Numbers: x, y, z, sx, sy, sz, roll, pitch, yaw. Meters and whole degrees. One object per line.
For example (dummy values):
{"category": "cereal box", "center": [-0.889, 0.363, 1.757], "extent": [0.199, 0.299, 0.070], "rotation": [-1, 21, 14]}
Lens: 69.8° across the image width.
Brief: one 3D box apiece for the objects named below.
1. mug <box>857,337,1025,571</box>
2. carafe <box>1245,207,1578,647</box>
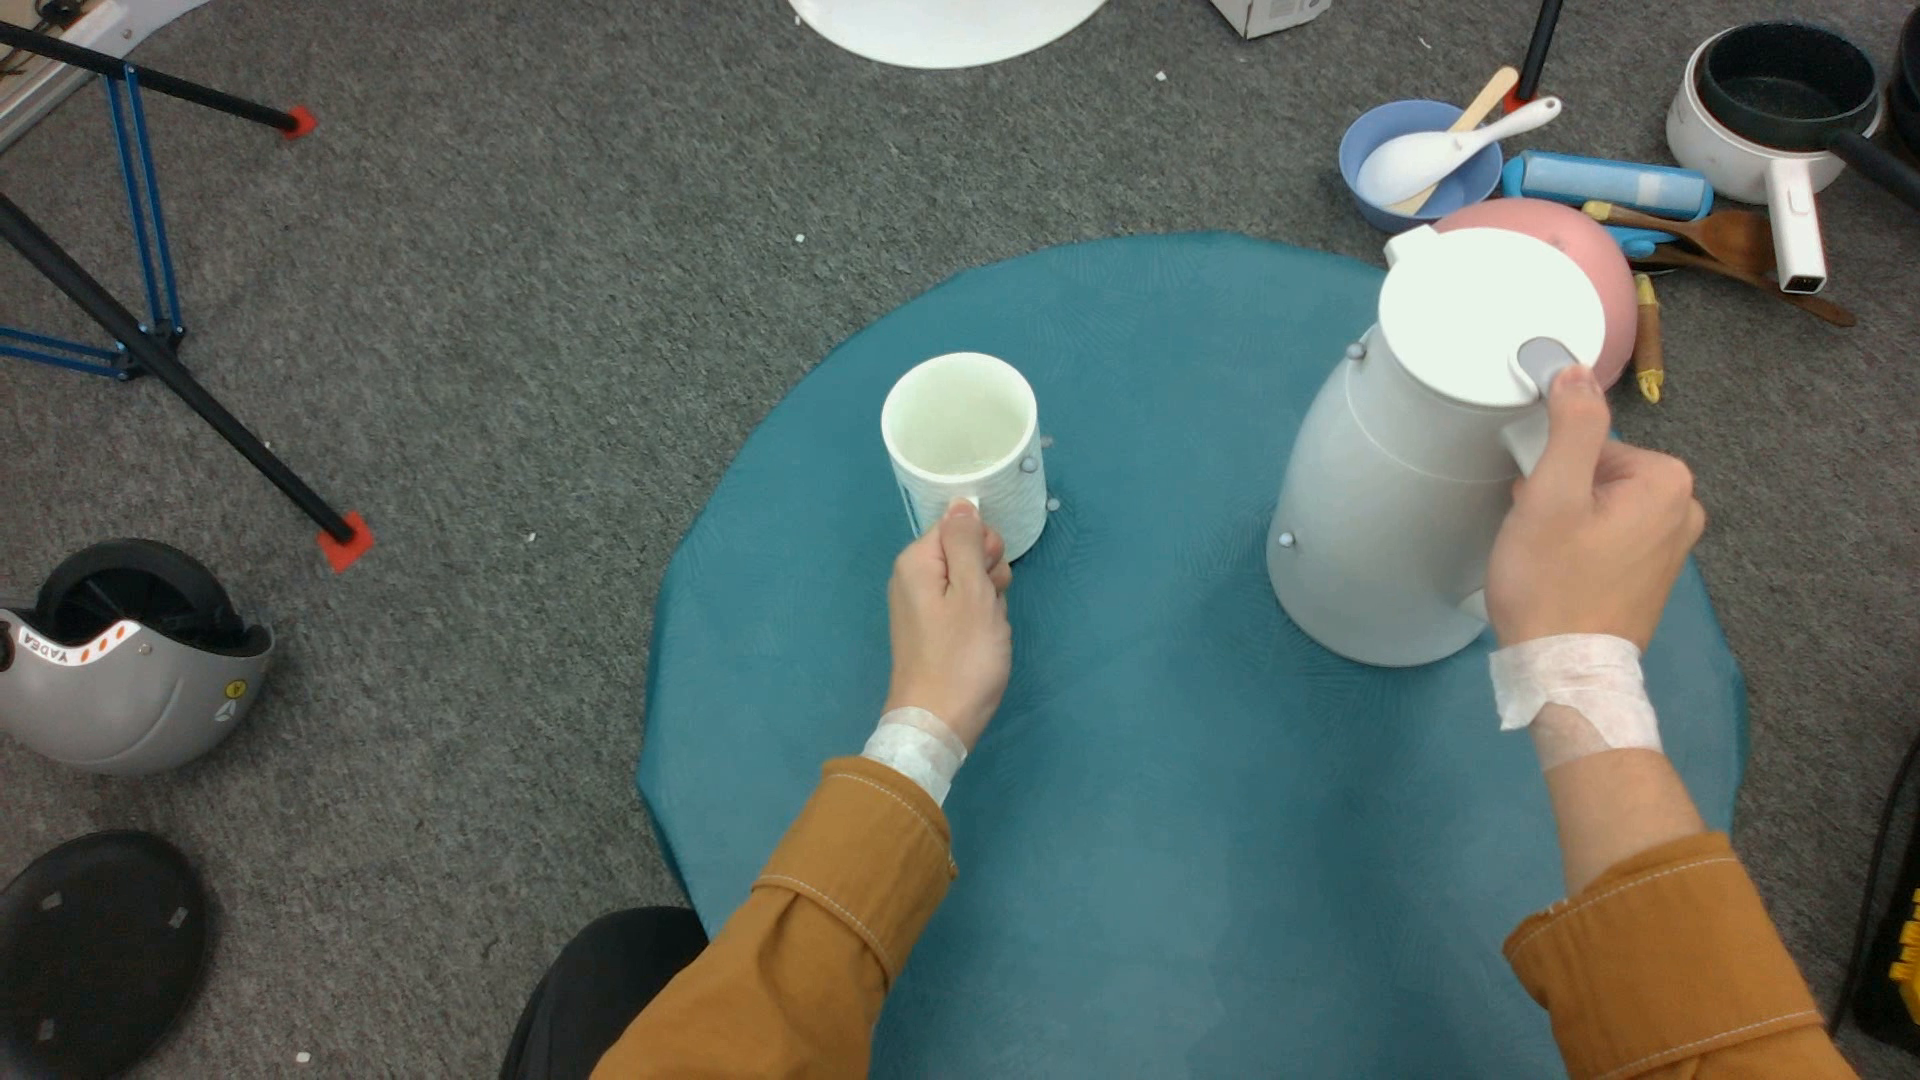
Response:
{"category": "mug", "center": [-0.007, -0.037, 0.774], "extent": [0.085, 0.101, 0.119], "rotation": [-7, 59, 4]}
{"category": "carafe", "center": [0.232, -0.039, 0.682], "extent": [0.132, 0.247, 0.168], "rotation": [-24, 65, -8]}
